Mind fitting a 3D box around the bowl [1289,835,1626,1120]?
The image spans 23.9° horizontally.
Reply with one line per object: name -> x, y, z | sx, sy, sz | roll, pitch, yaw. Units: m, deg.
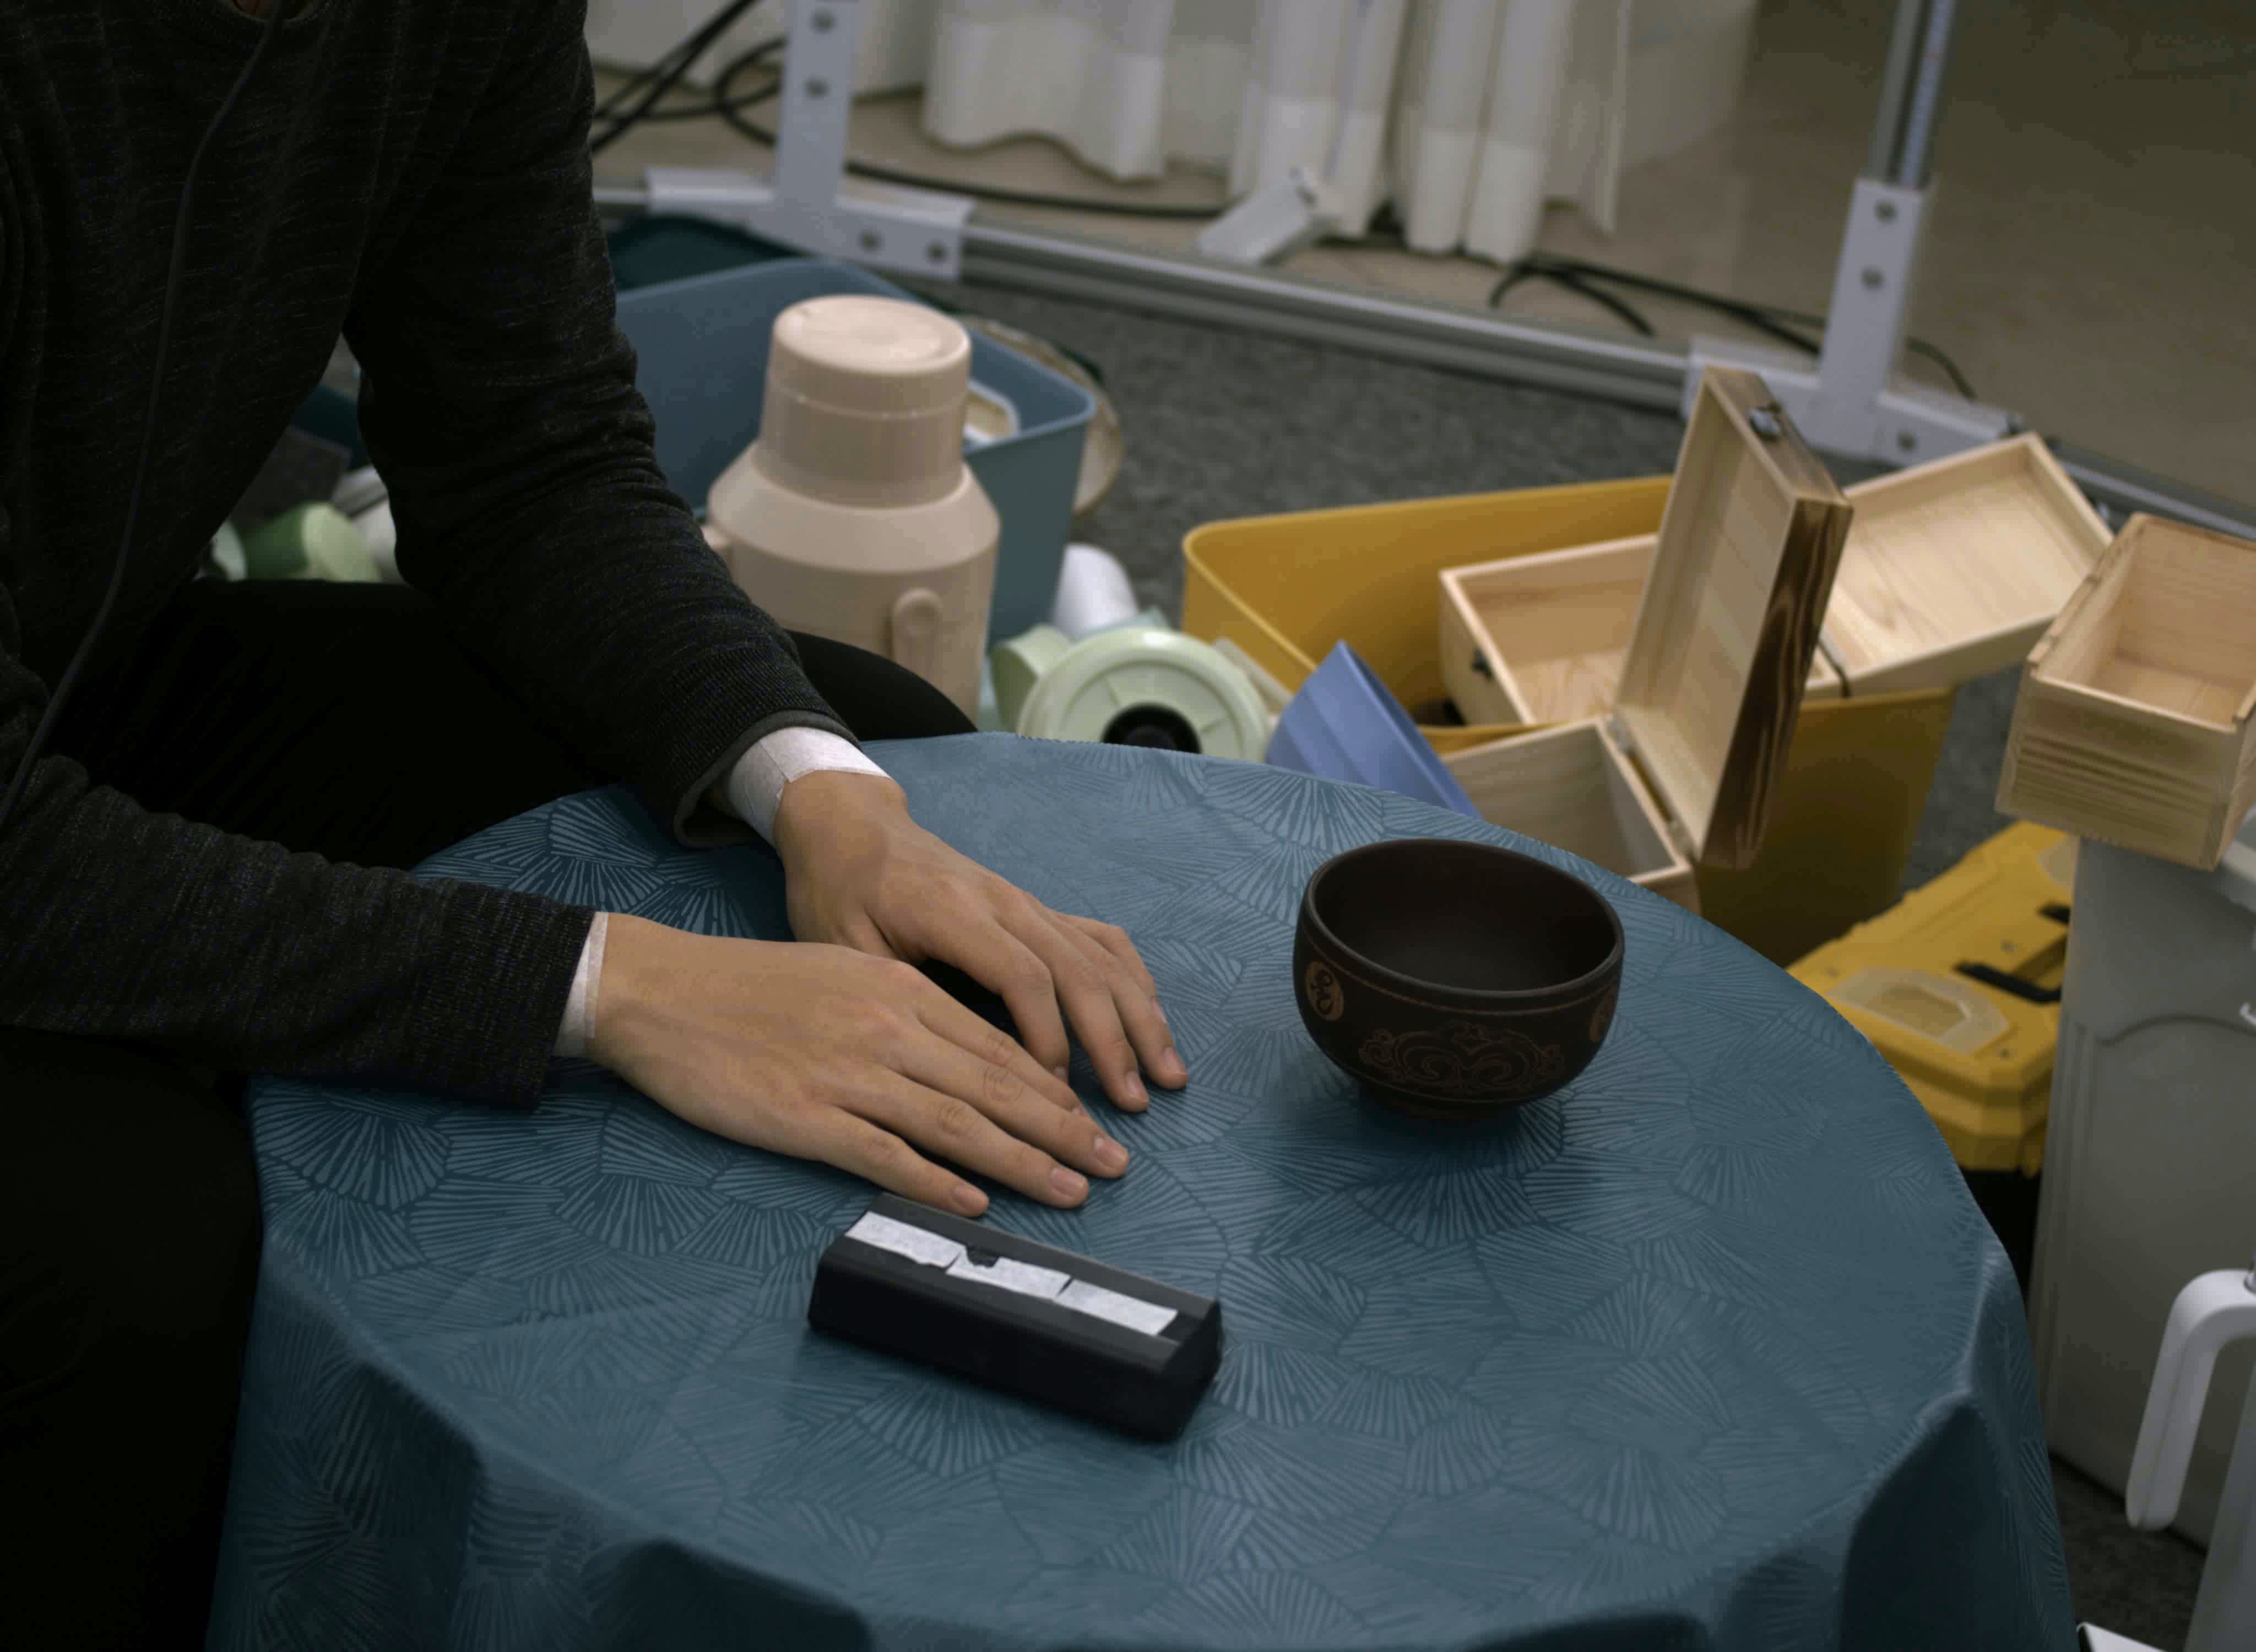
bowl -> 0.114, 0.060, 1.874 | 0.117, 0.069, 0.119 | 4, 27, -2

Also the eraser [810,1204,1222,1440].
eraser -> -0.036, 0.157, 1.697 | 0.126, 0.030, 0.053 | 16, 25, 18
